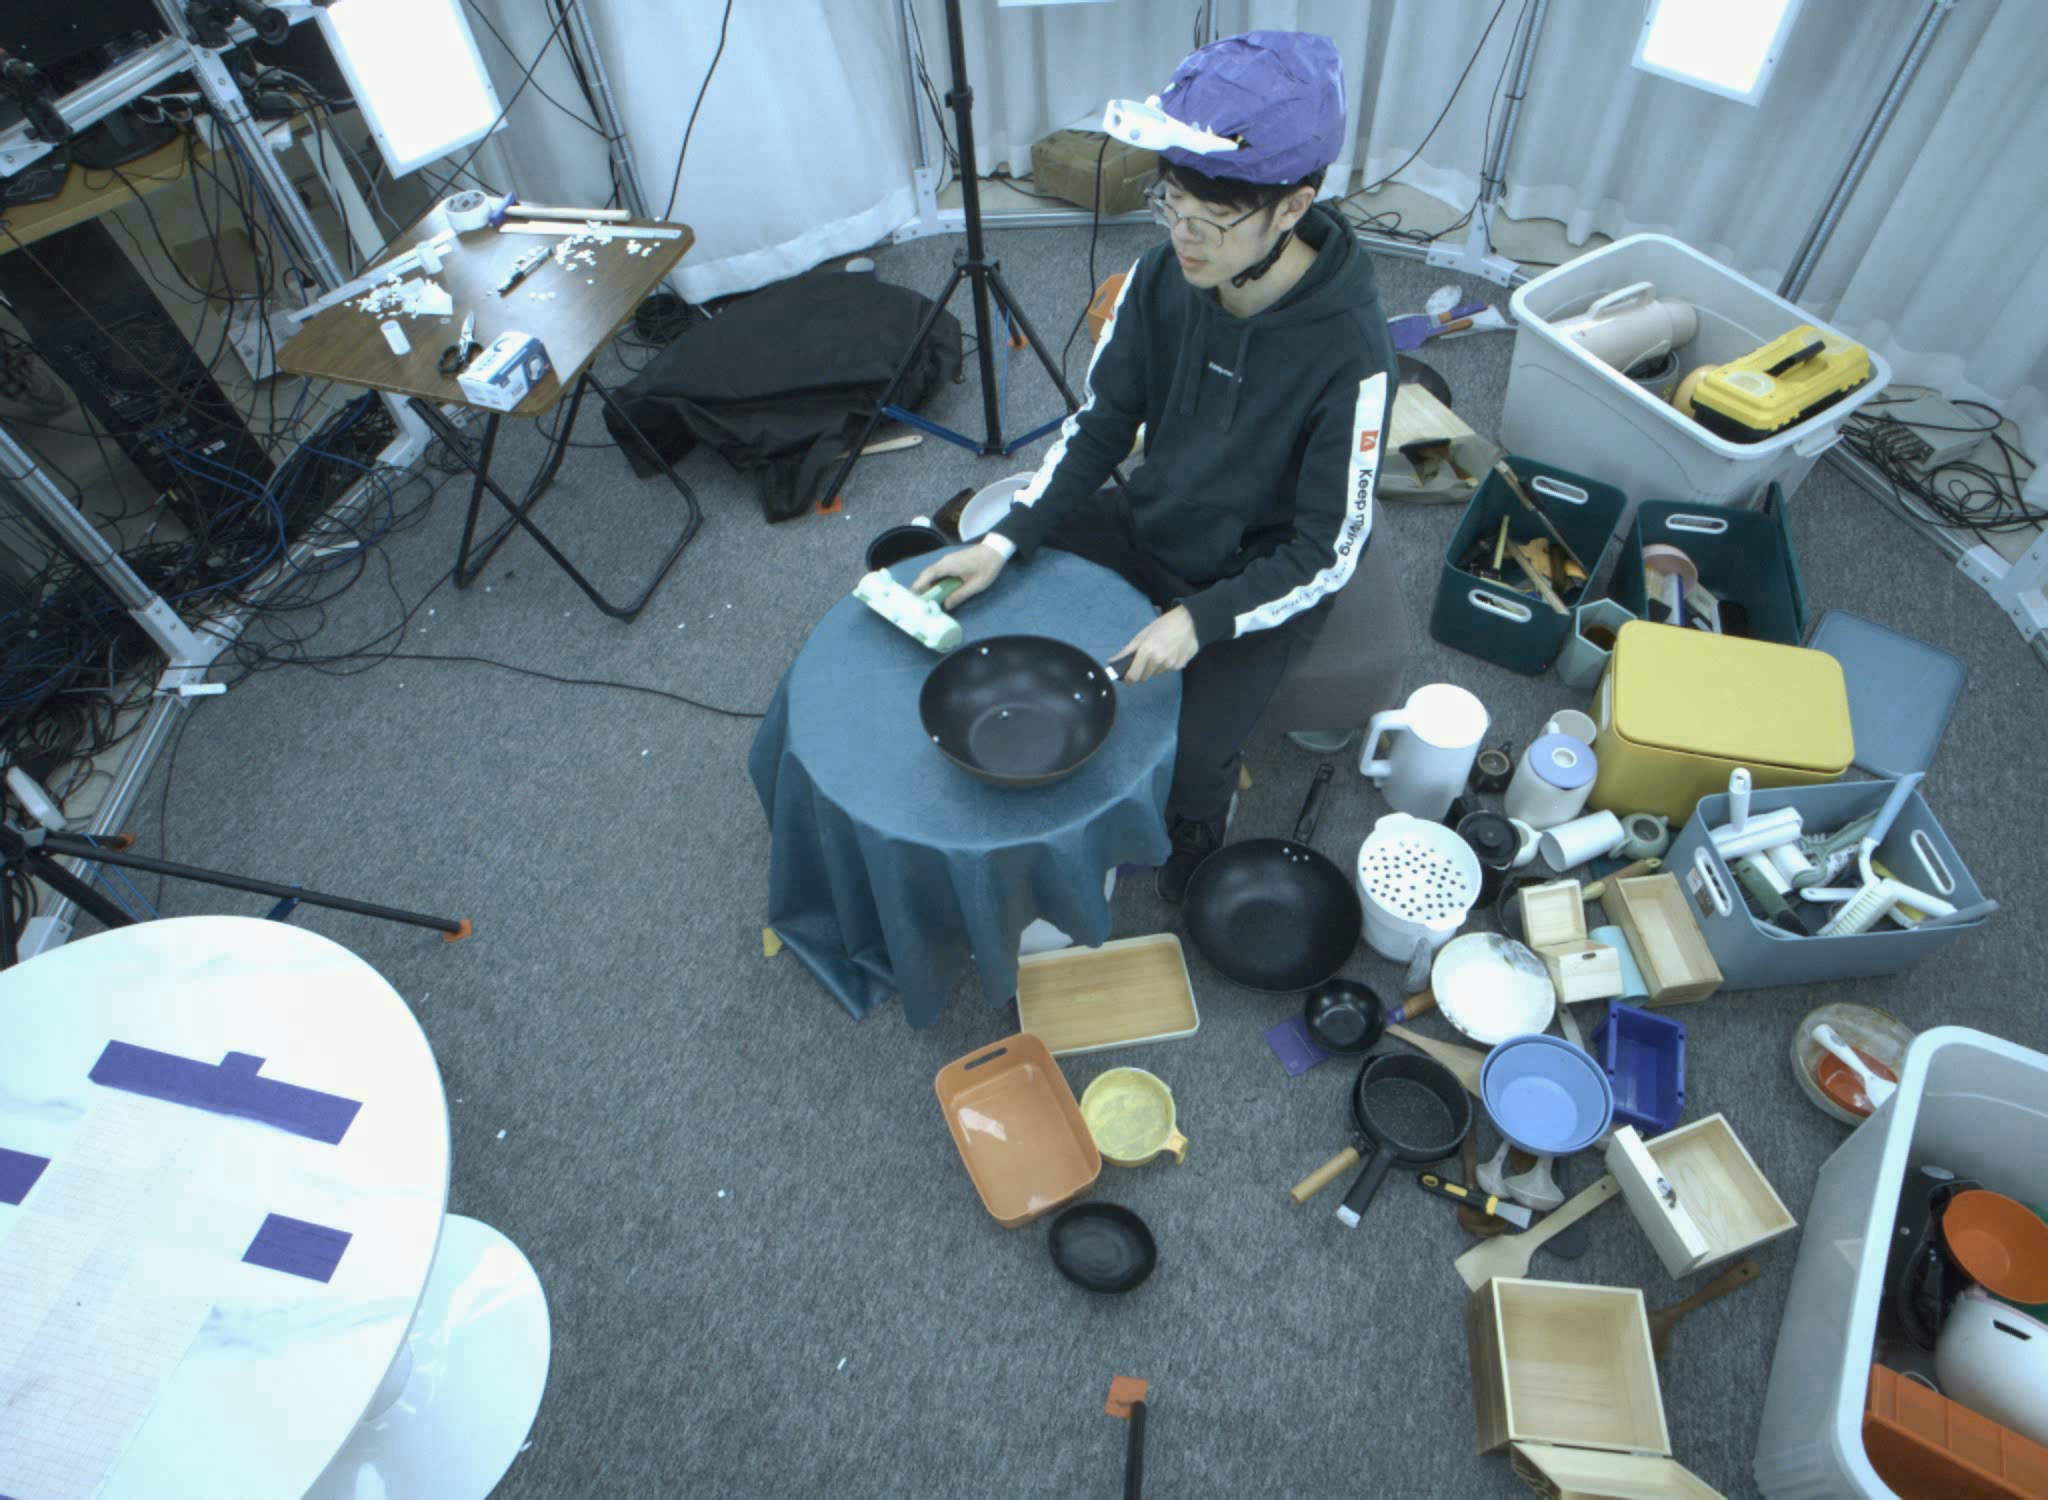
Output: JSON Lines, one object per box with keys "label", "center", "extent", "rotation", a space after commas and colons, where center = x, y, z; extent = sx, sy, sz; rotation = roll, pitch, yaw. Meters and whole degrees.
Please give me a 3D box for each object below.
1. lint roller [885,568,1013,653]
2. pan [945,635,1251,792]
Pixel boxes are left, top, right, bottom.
{"label": "lint roller", "center": [-0.092, -0.250, 1.904], "extent": [0.184, 0.083, 0.194], "rotation": [-39, 56, -21]}
{"label": "pan", "center": [0.113, -0.067, 1.760], "extent": [0.468, 0.087, 0.282], "rotation": [-19, 52, -19]}
